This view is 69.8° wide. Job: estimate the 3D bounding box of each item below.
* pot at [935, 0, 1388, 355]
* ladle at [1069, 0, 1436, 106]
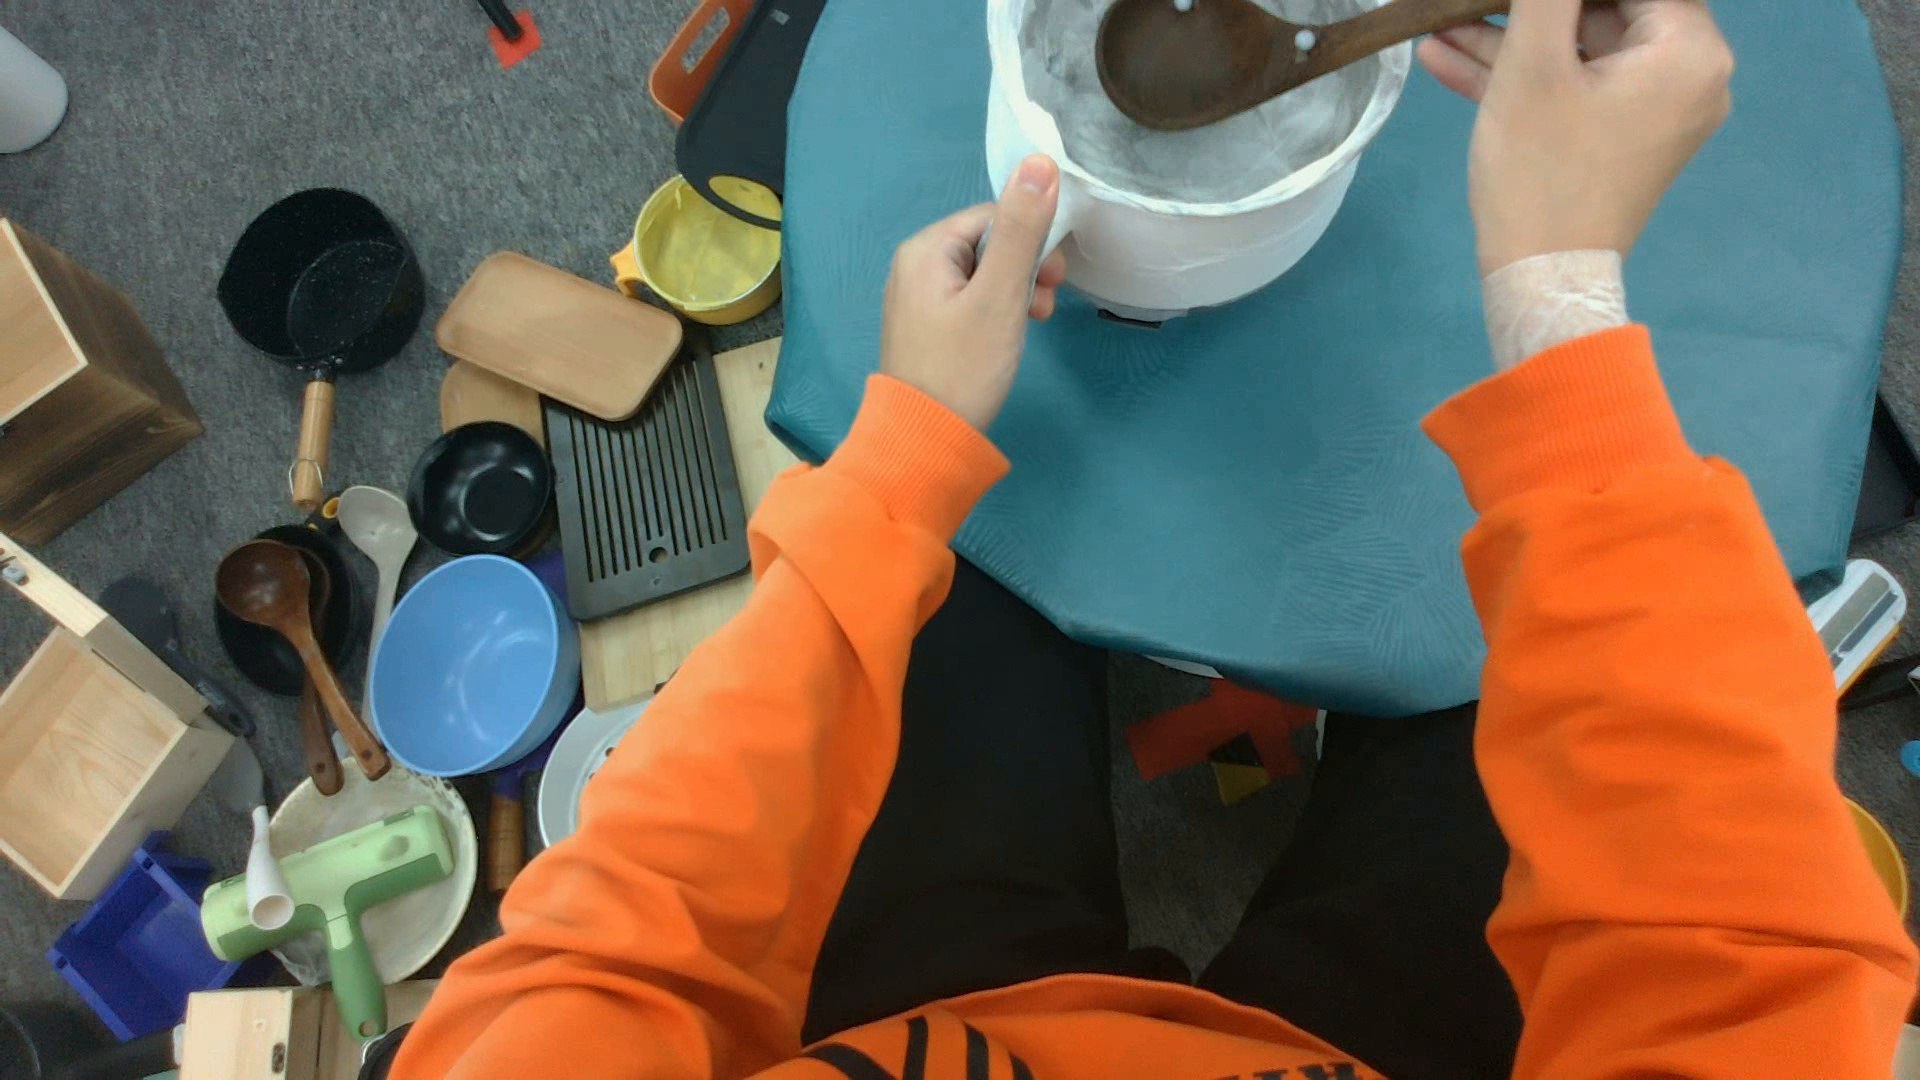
[{"bbox_3d":[0.074,-0.189,0.636,0.179,0.136,0.234,38,80,8],"label":"pot"},{"bbox_3d":[0.158,-0.217,0.519,0.273,0.071,0.076,7,80,48],"label":"ladle"}]
